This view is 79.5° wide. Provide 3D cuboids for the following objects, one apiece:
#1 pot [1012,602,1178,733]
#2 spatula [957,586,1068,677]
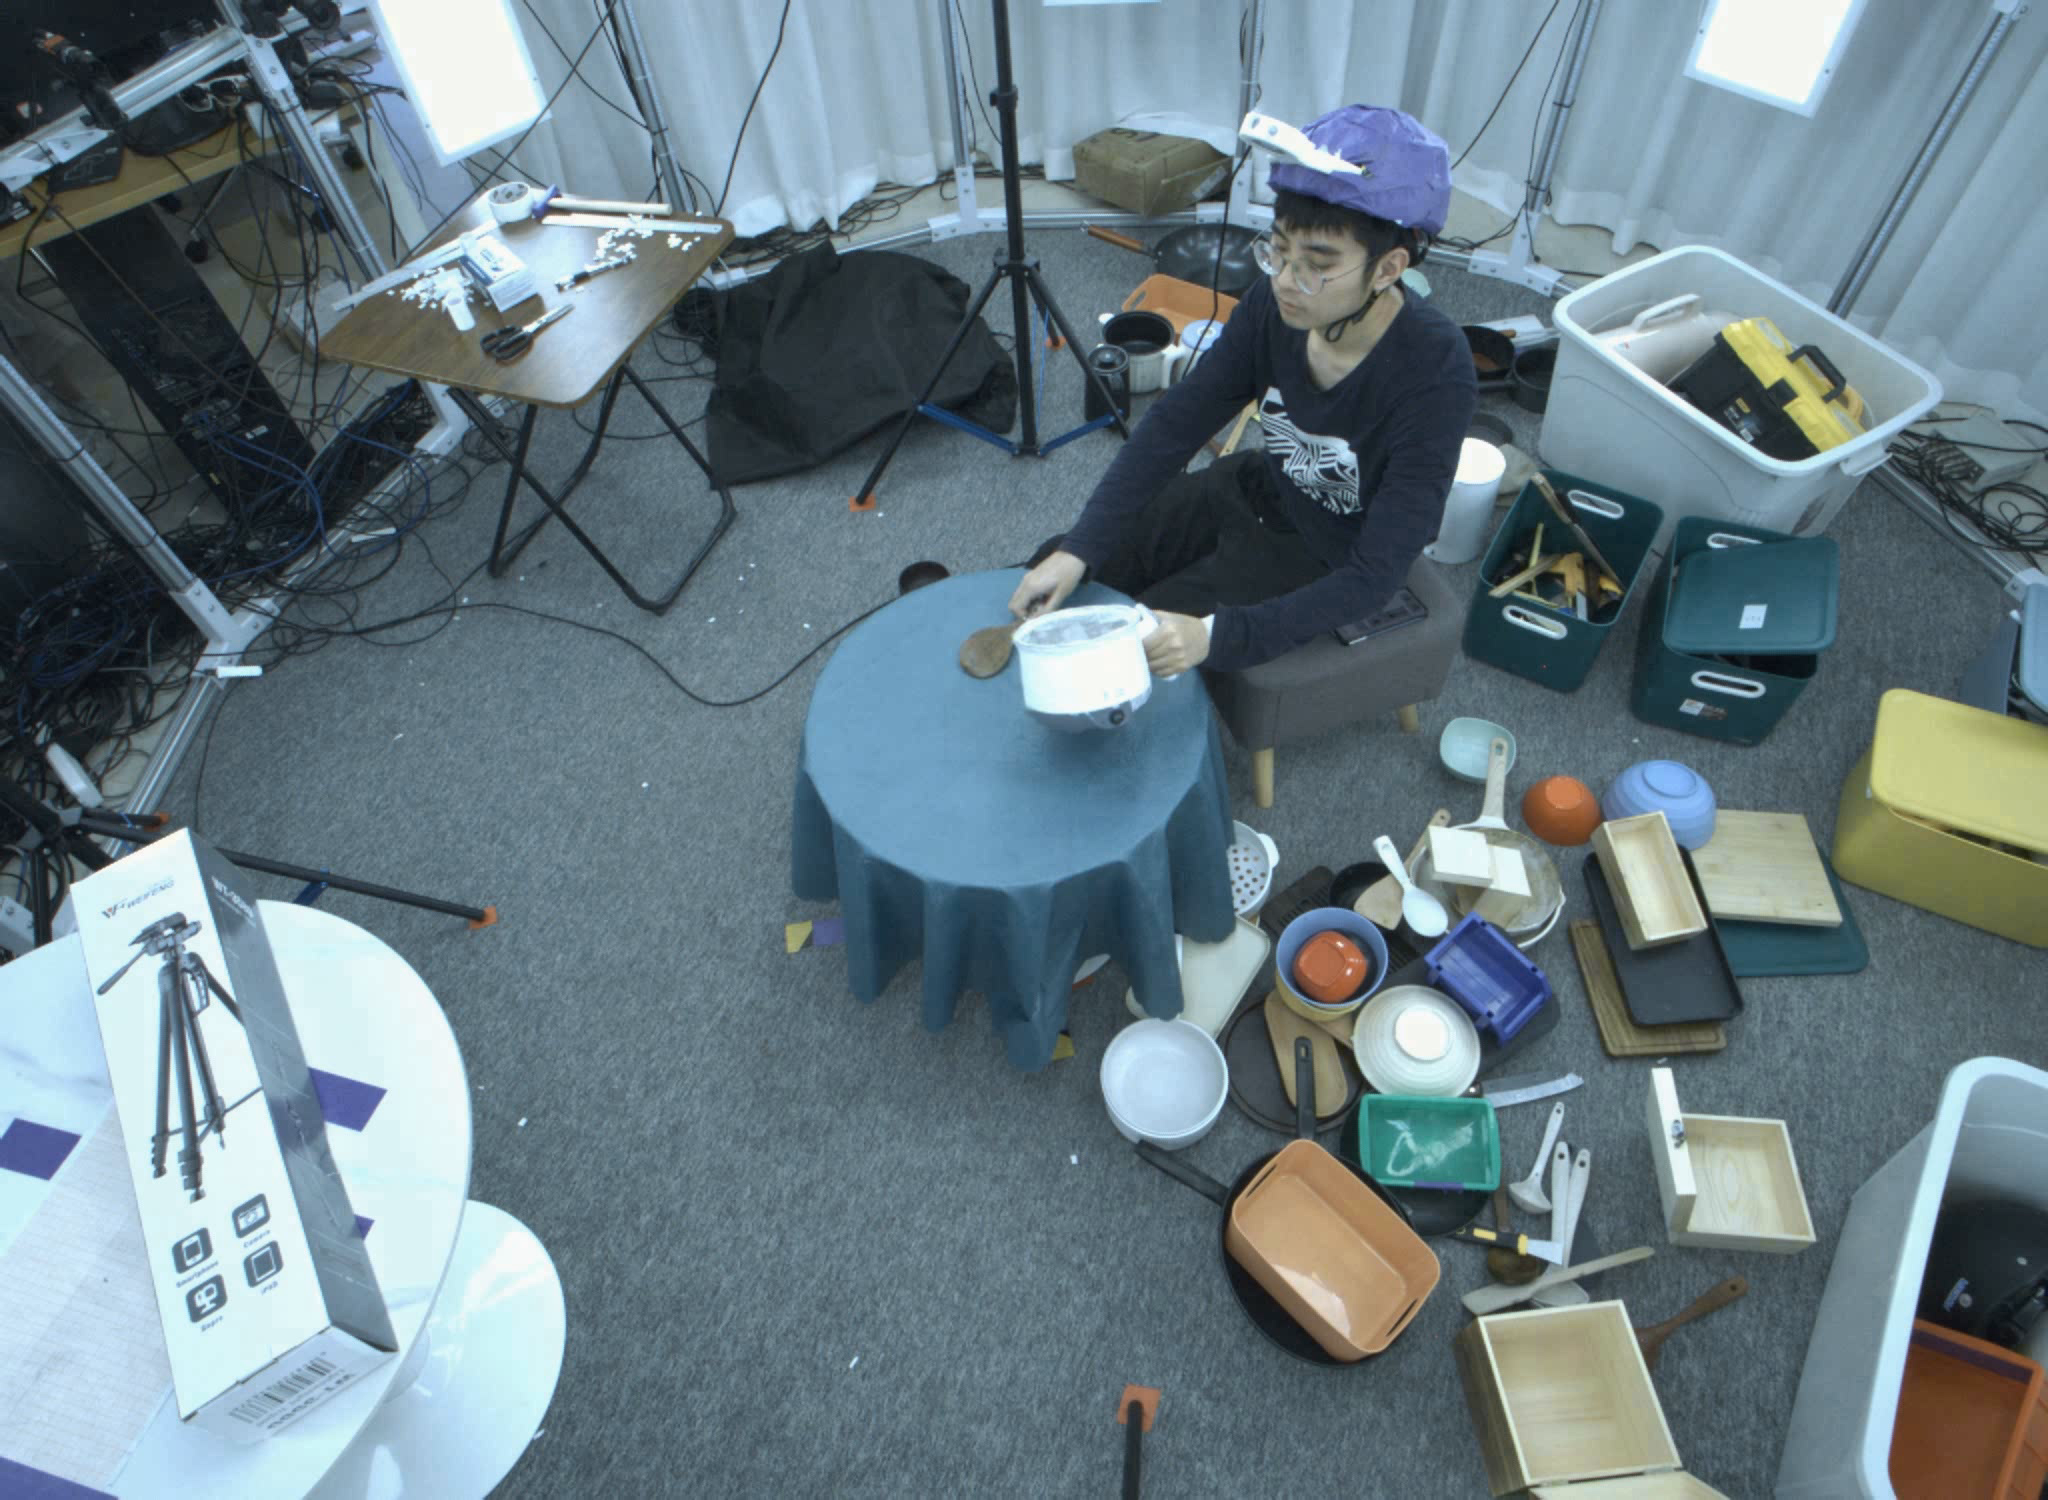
[{"bbox_3d":[0.107,-0.124,1.729,0.236,0.138,0.175,-20,27,-20],"label":"pot"},{"bbox_3d":[-0.010,-0.188,1.907,0.217,0.009,0.071,-39,80,-17],"label":"spatula"}]
